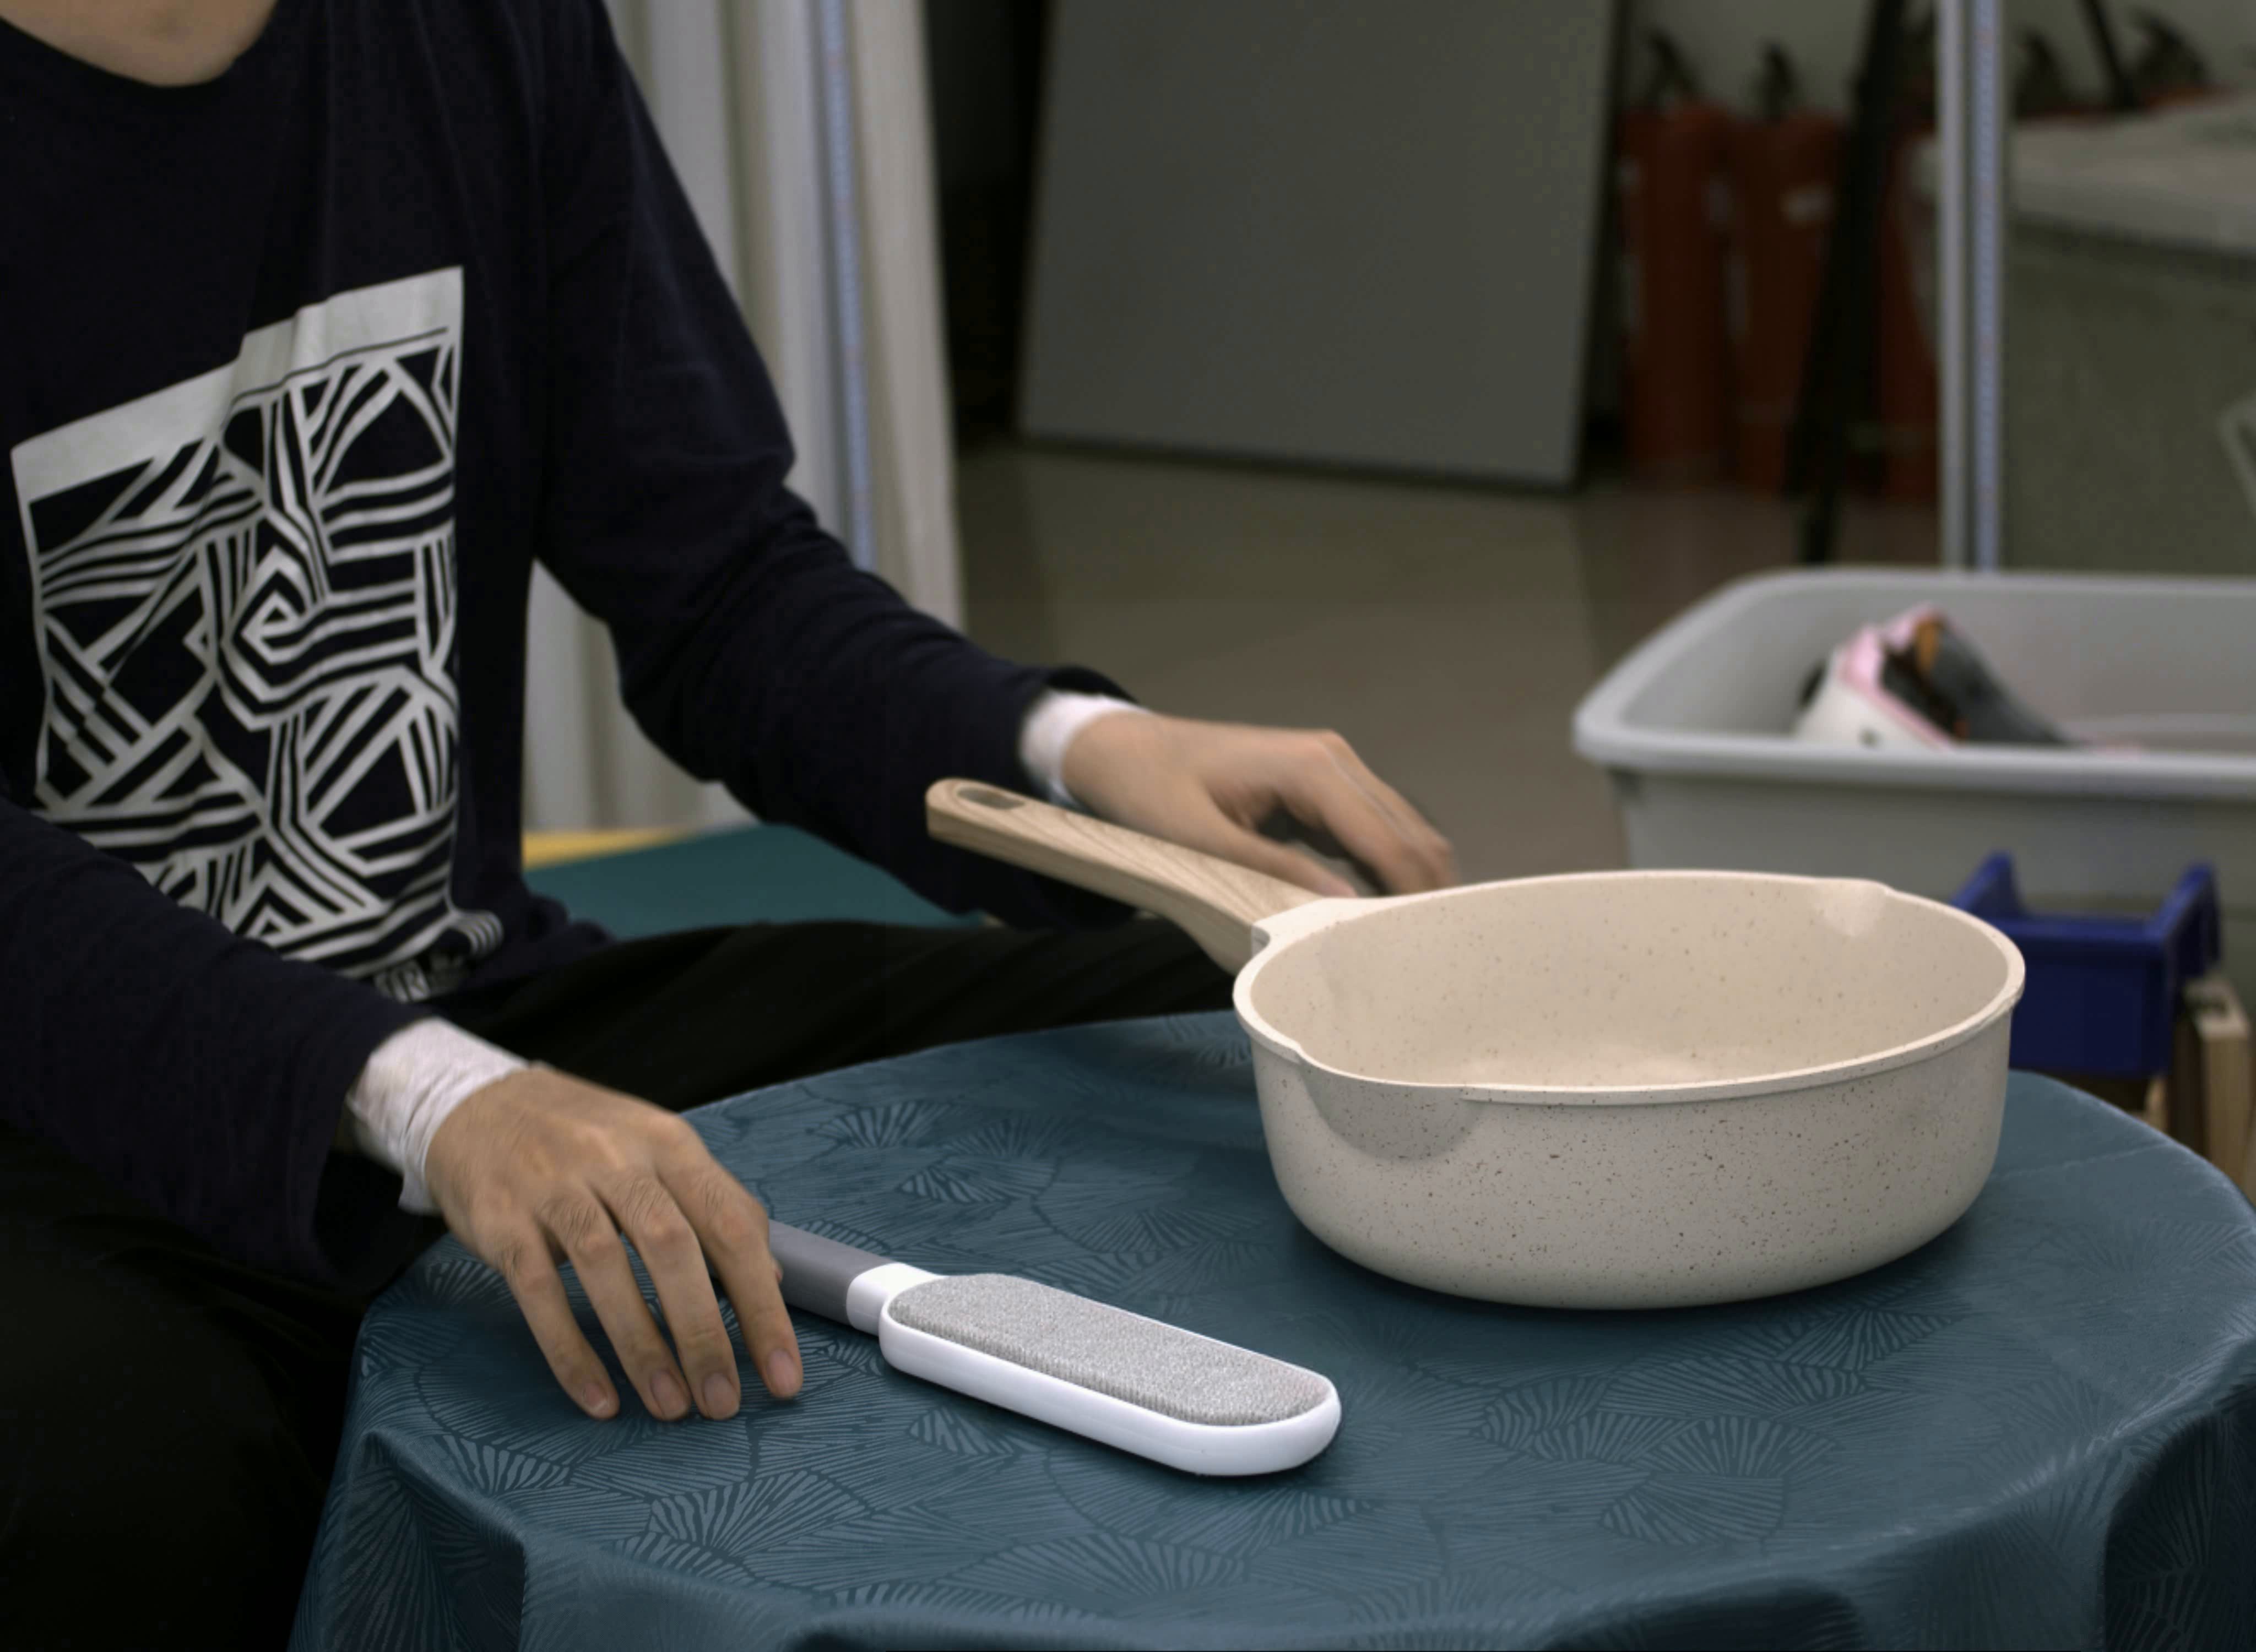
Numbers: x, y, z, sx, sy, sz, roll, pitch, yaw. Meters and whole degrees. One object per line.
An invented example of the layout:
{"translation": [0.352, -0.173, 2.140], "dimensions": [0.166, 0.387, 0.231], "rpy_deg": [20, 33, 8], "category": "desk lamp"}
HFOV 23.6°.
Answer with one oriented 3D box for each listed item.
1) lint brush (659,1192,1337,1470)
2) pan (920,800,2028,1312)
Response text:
{"translation": [-0.047, 0.147, 1.621], "dimensions": [0.059, 0.021, 0.312], "rpy_deg": [-20, 20, -35], "category": "lint brush"}
{"translation": [0.095, 0.065, 1.770], "dimensions": [0.439, 0.103, 0.258], "rpy_deg": [9, 21, 44], "category": "pan"}
